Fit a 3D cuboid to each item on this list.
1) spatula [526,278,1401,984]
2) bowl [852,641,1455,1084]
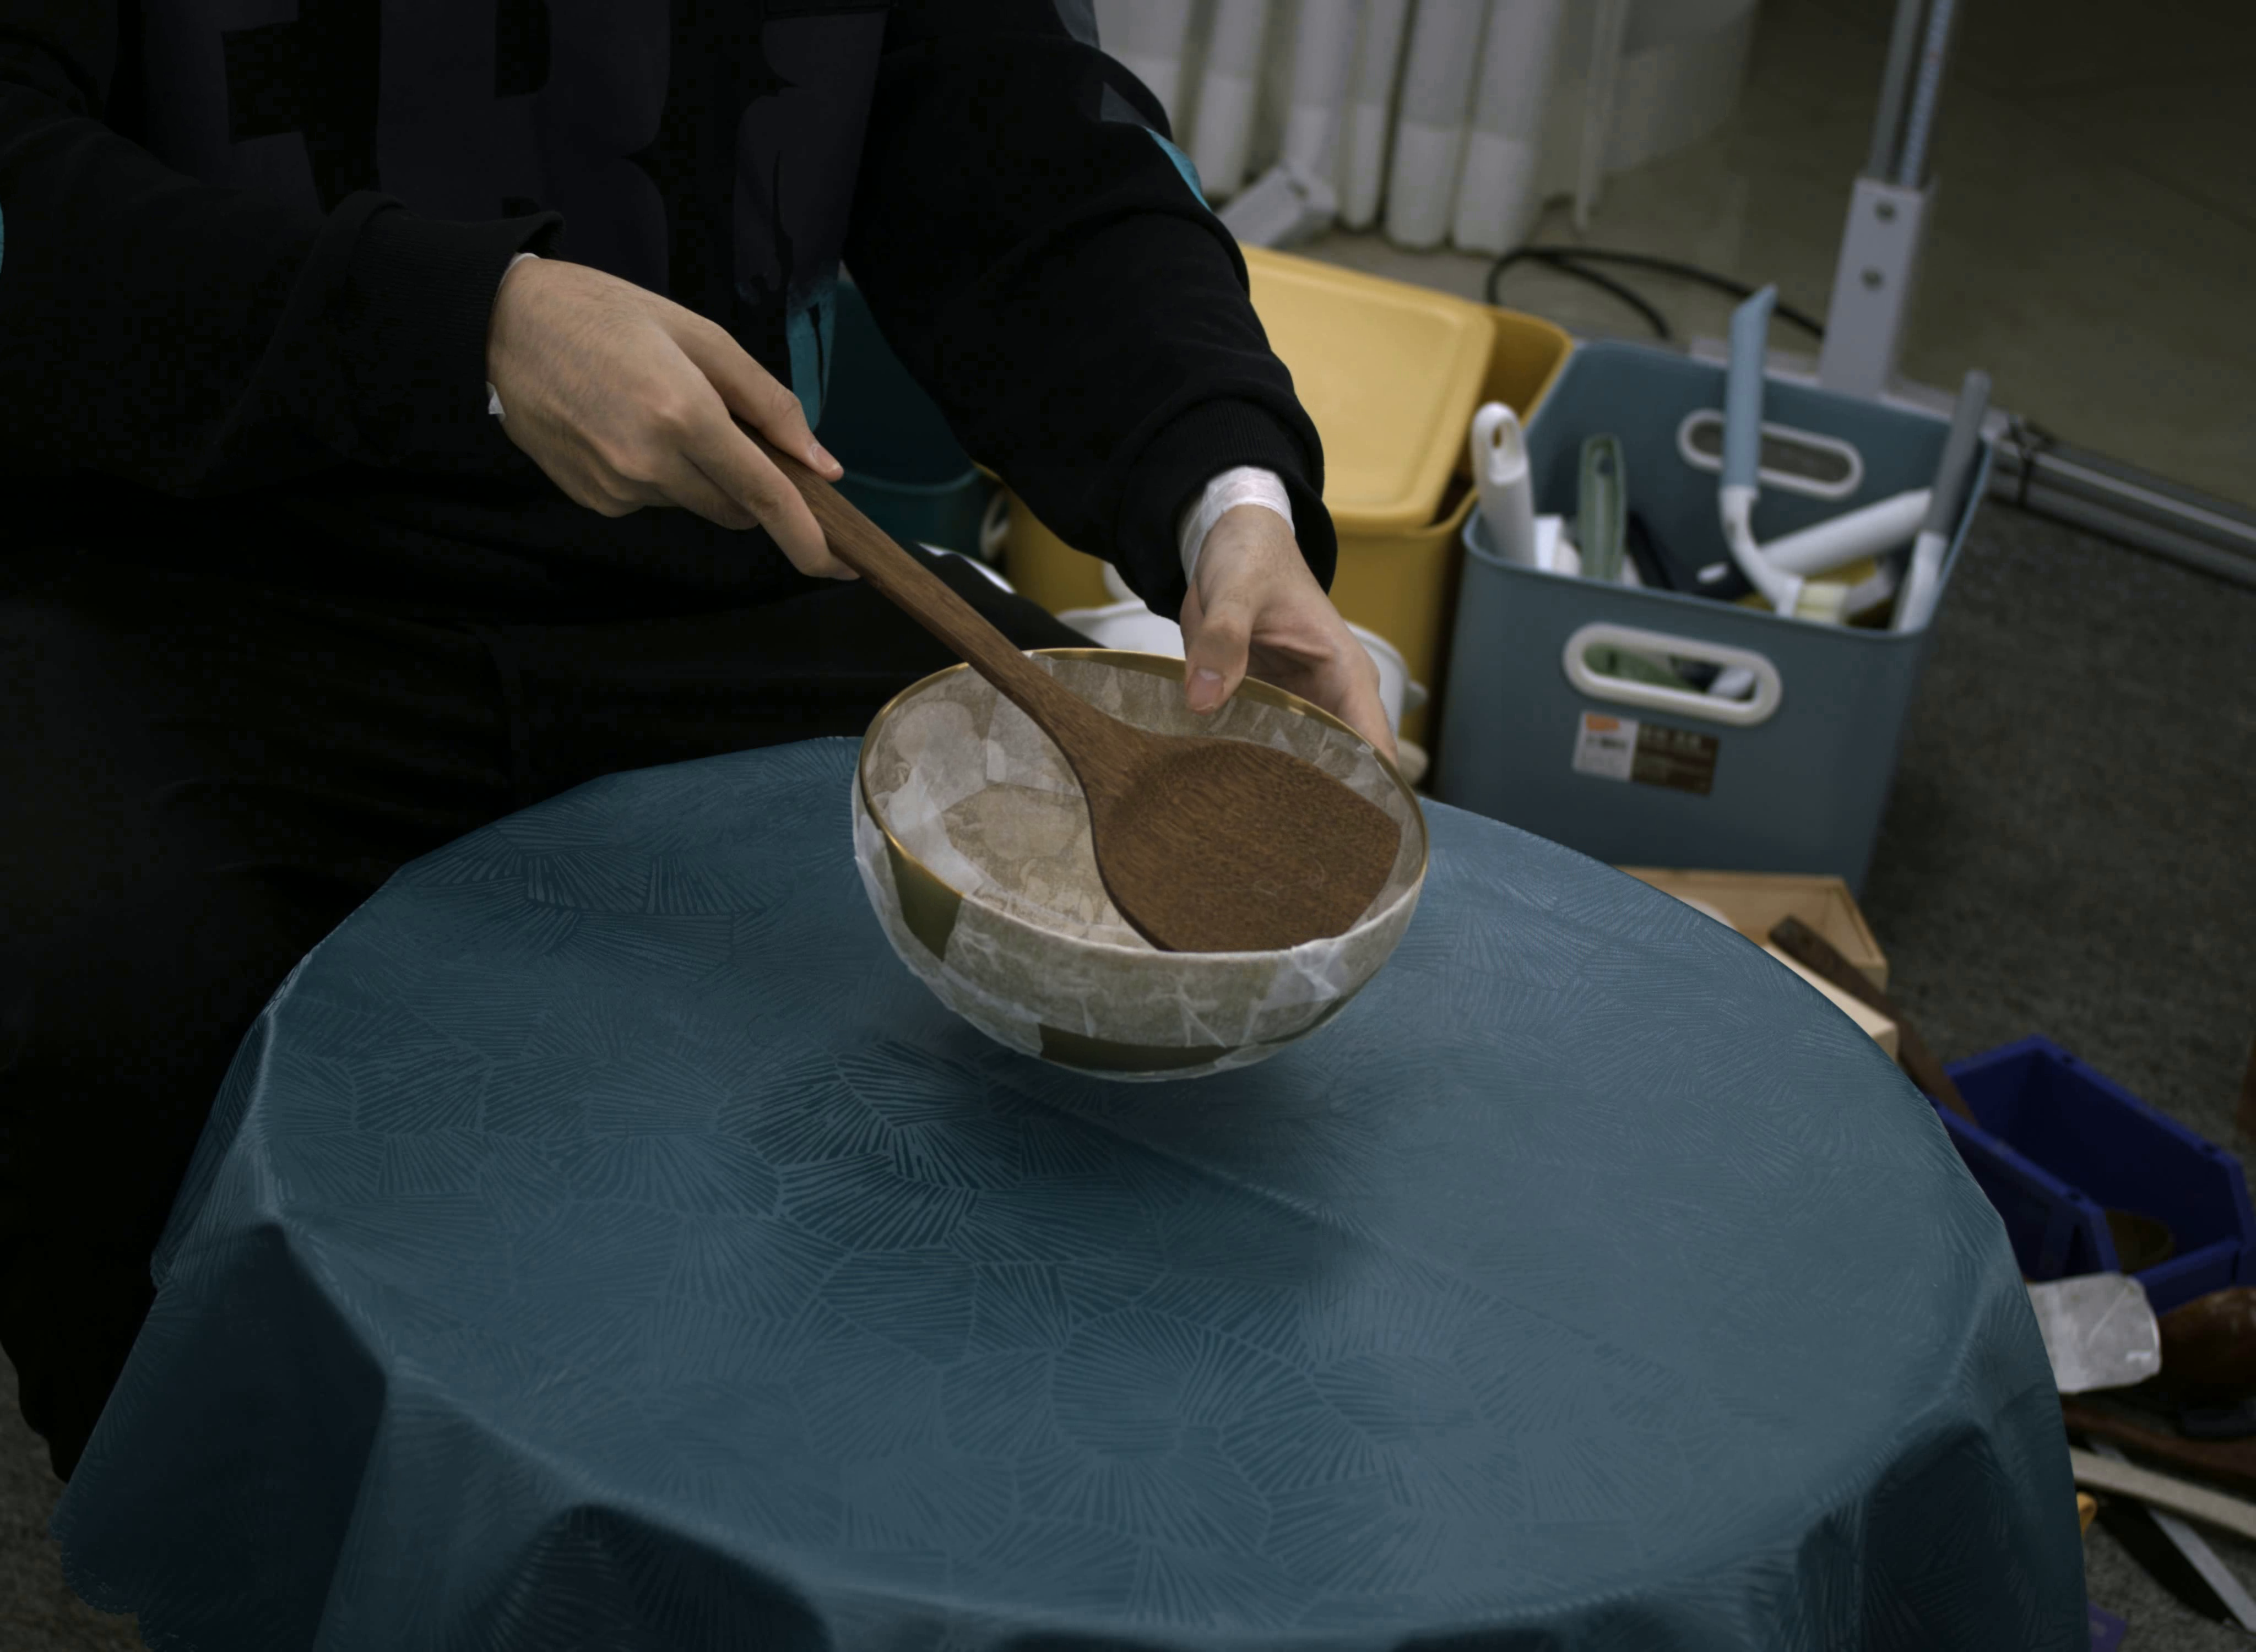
[{"bbox_3d":[-0.070,-0.078,1.834,0.388,0.016,0.096,39,60,19],"label":"spatula"},{"bbox_3d":[0.002,0.026,1.844,0.214,0.094,0.216,6,29,-4],"label":"bowl"}]
